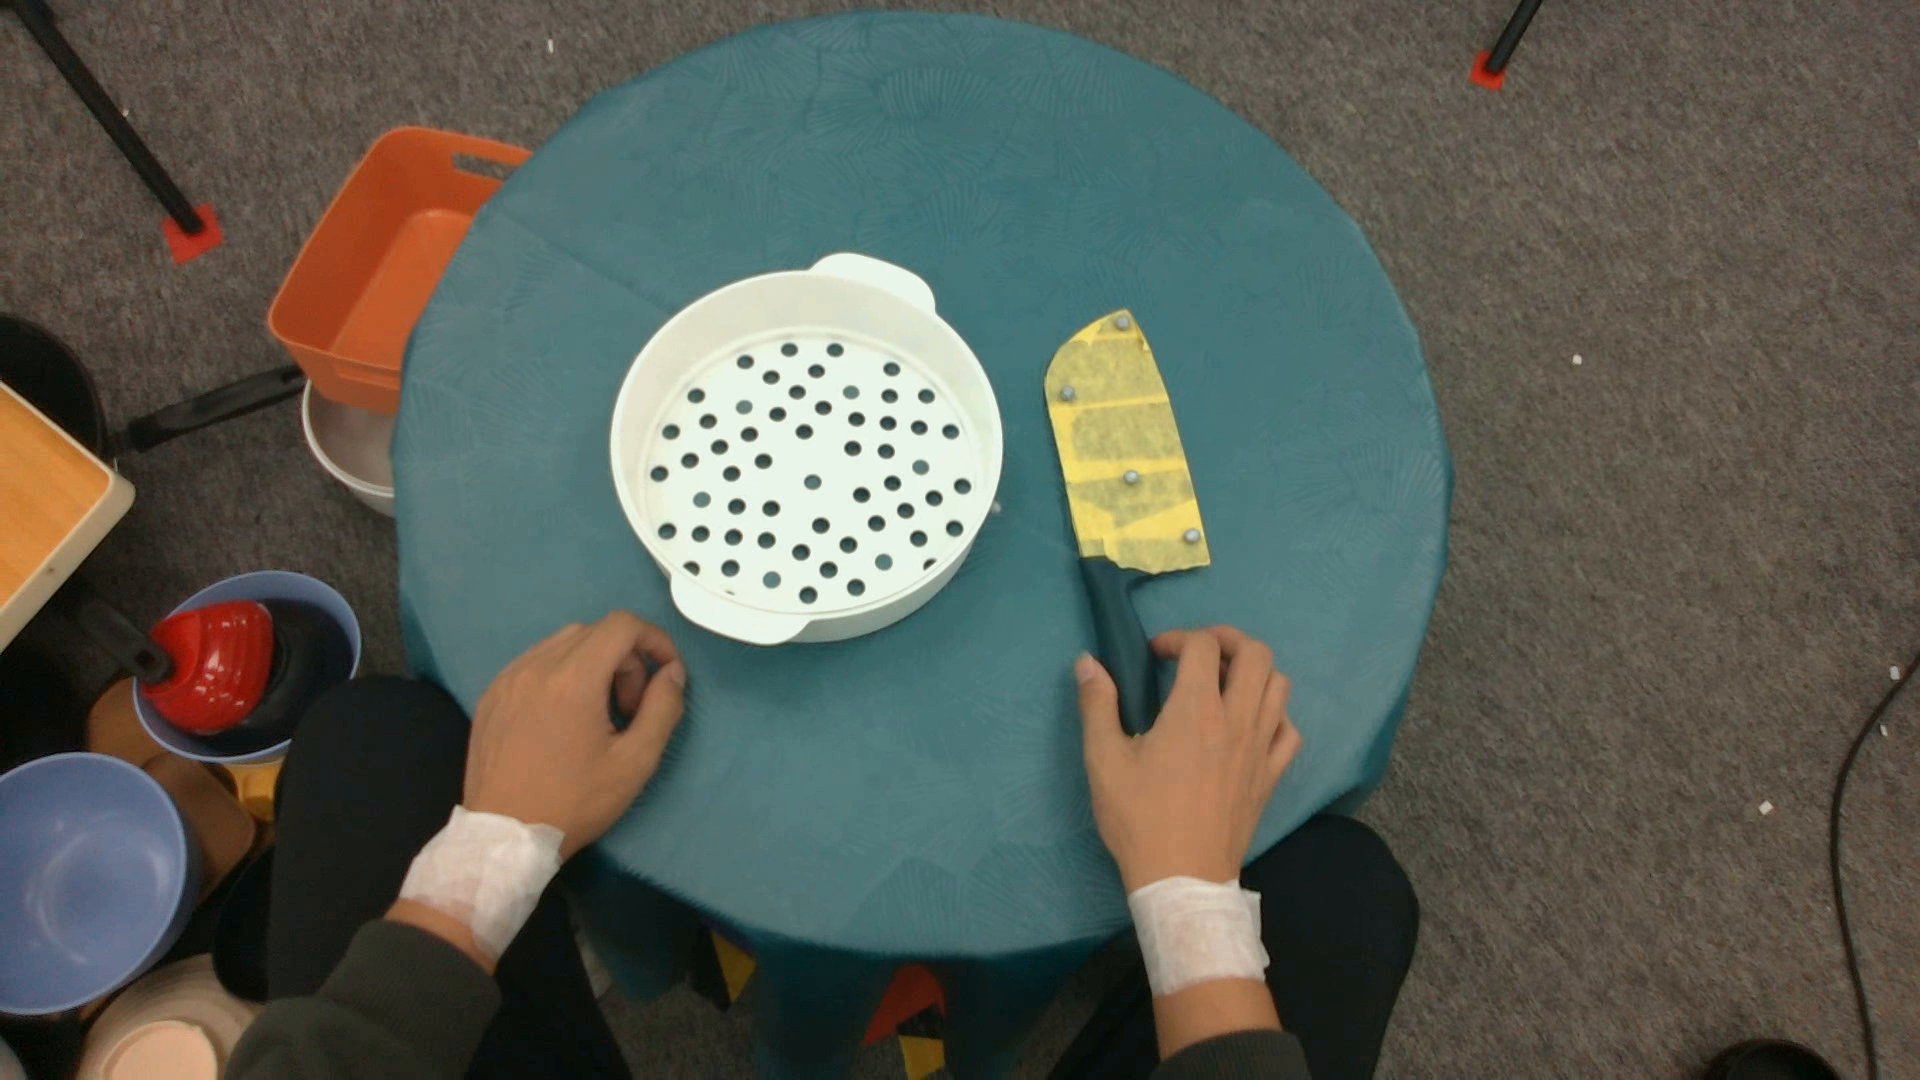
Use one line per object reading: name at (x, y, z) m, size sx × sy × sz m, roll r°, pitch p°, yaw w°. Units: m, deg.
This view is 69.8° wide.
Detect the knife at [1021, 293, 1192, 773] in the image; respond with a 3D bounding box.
knife at (0.087, -0.014, 0.767) m, size 0.081 × 0.027 × 0.290 m, roll -5°, pitch 68°, yaw -7°

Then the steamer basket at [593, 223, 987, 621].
steamer basket at (-0.089, -0.058, 0.737) m, size 0.202 × 0.069 × 0.231 m, roll 19°, pitch 69°, yaw 2°
